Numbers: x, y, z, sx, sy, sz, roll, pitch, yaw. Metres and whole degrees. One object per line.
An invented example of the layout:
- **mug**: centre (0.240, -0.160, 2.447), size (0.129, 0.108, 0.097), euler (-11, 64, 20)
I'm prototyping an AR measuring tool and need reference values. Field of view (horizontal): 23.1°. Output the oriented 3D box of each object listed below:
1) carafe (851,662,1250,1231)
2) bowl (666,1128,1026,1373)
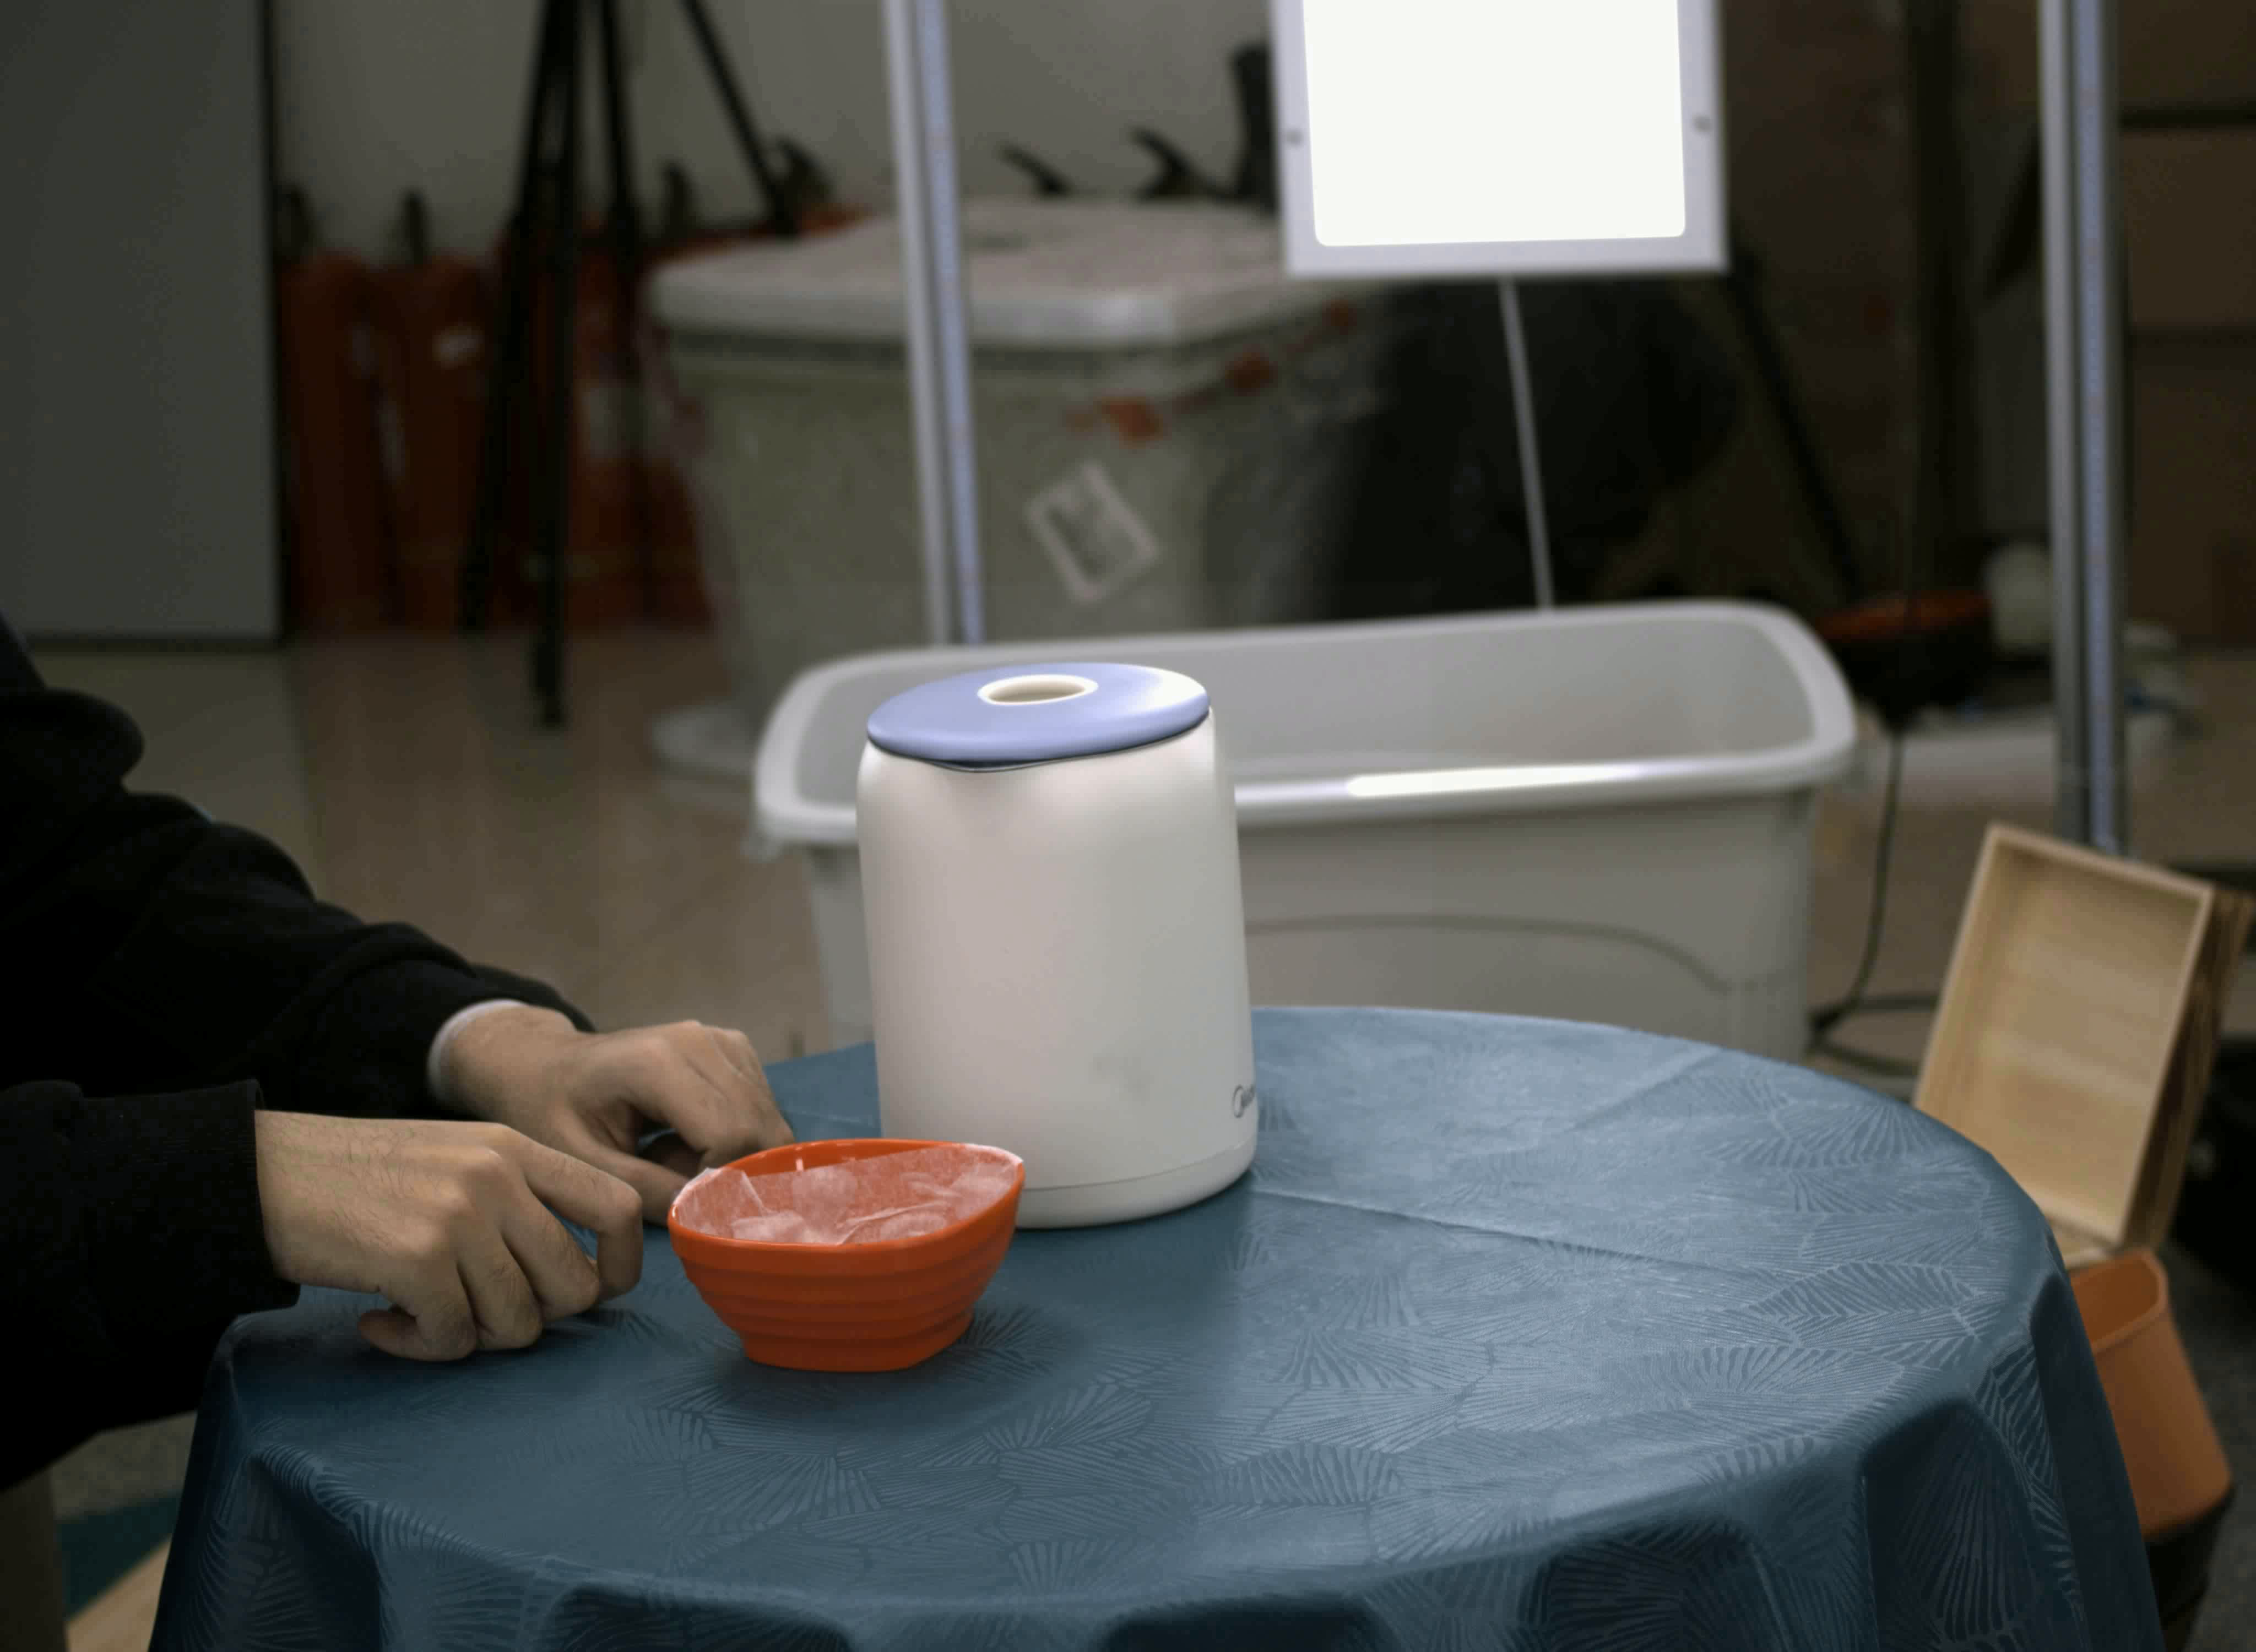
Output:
- **carafe**: centre (-0.020, 0.035, 1.918), size (0.133, 0.183, 0.188), euler (1, 12, 16)
- **bowl**: centre (-0.088, 0.138, 1.765), size (0.118, 0.051, 0.119), euler (-4, 17, 0)
